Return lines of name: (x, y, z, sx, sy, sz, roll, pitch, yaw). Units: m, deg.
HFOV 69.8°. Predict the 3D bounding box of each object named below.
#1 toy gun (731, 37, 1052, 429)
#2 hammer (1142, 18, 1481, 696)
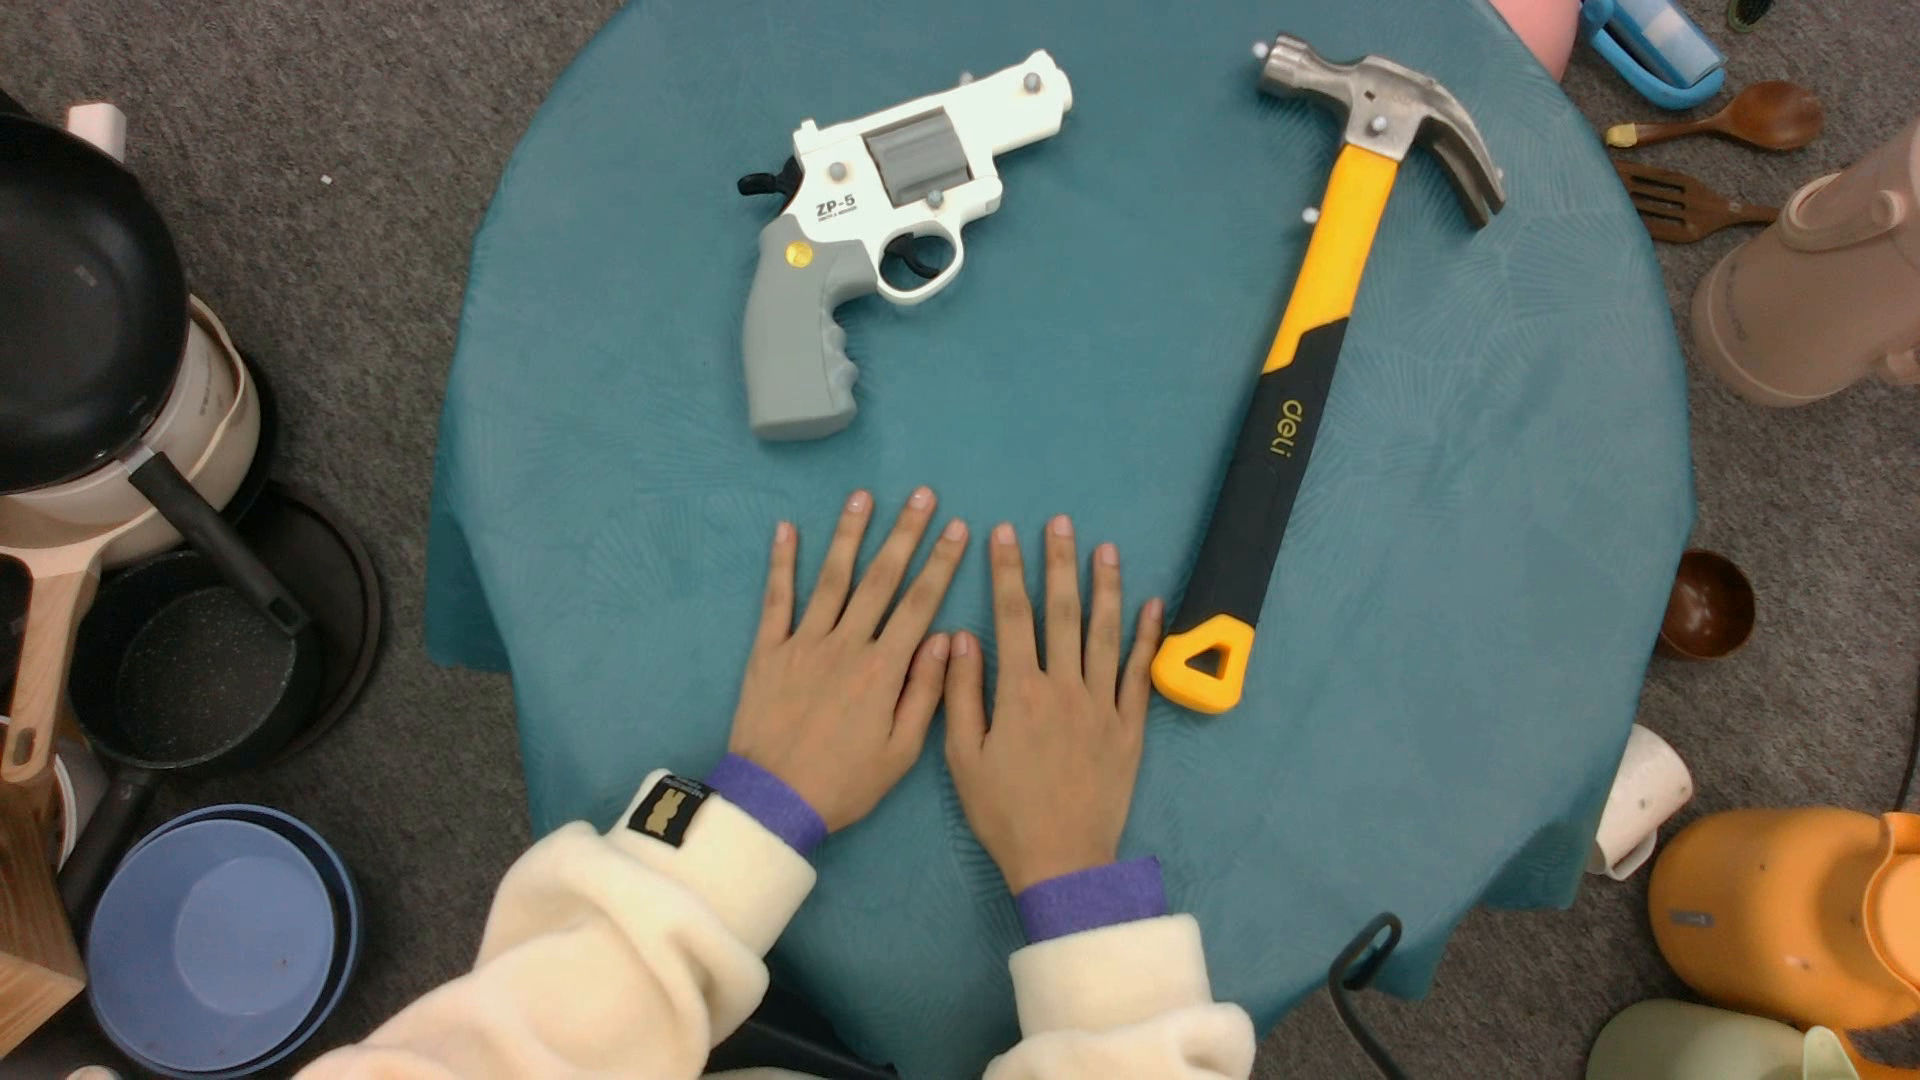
toy gun: (-0.031, -0.149, 0.656, 0.209, 0.039, 0.142, -24, 79, -9)
hammer: (0.154, -0.087, 0.657, 0.131, 0.032, 0.339, 21, 75, -1)
